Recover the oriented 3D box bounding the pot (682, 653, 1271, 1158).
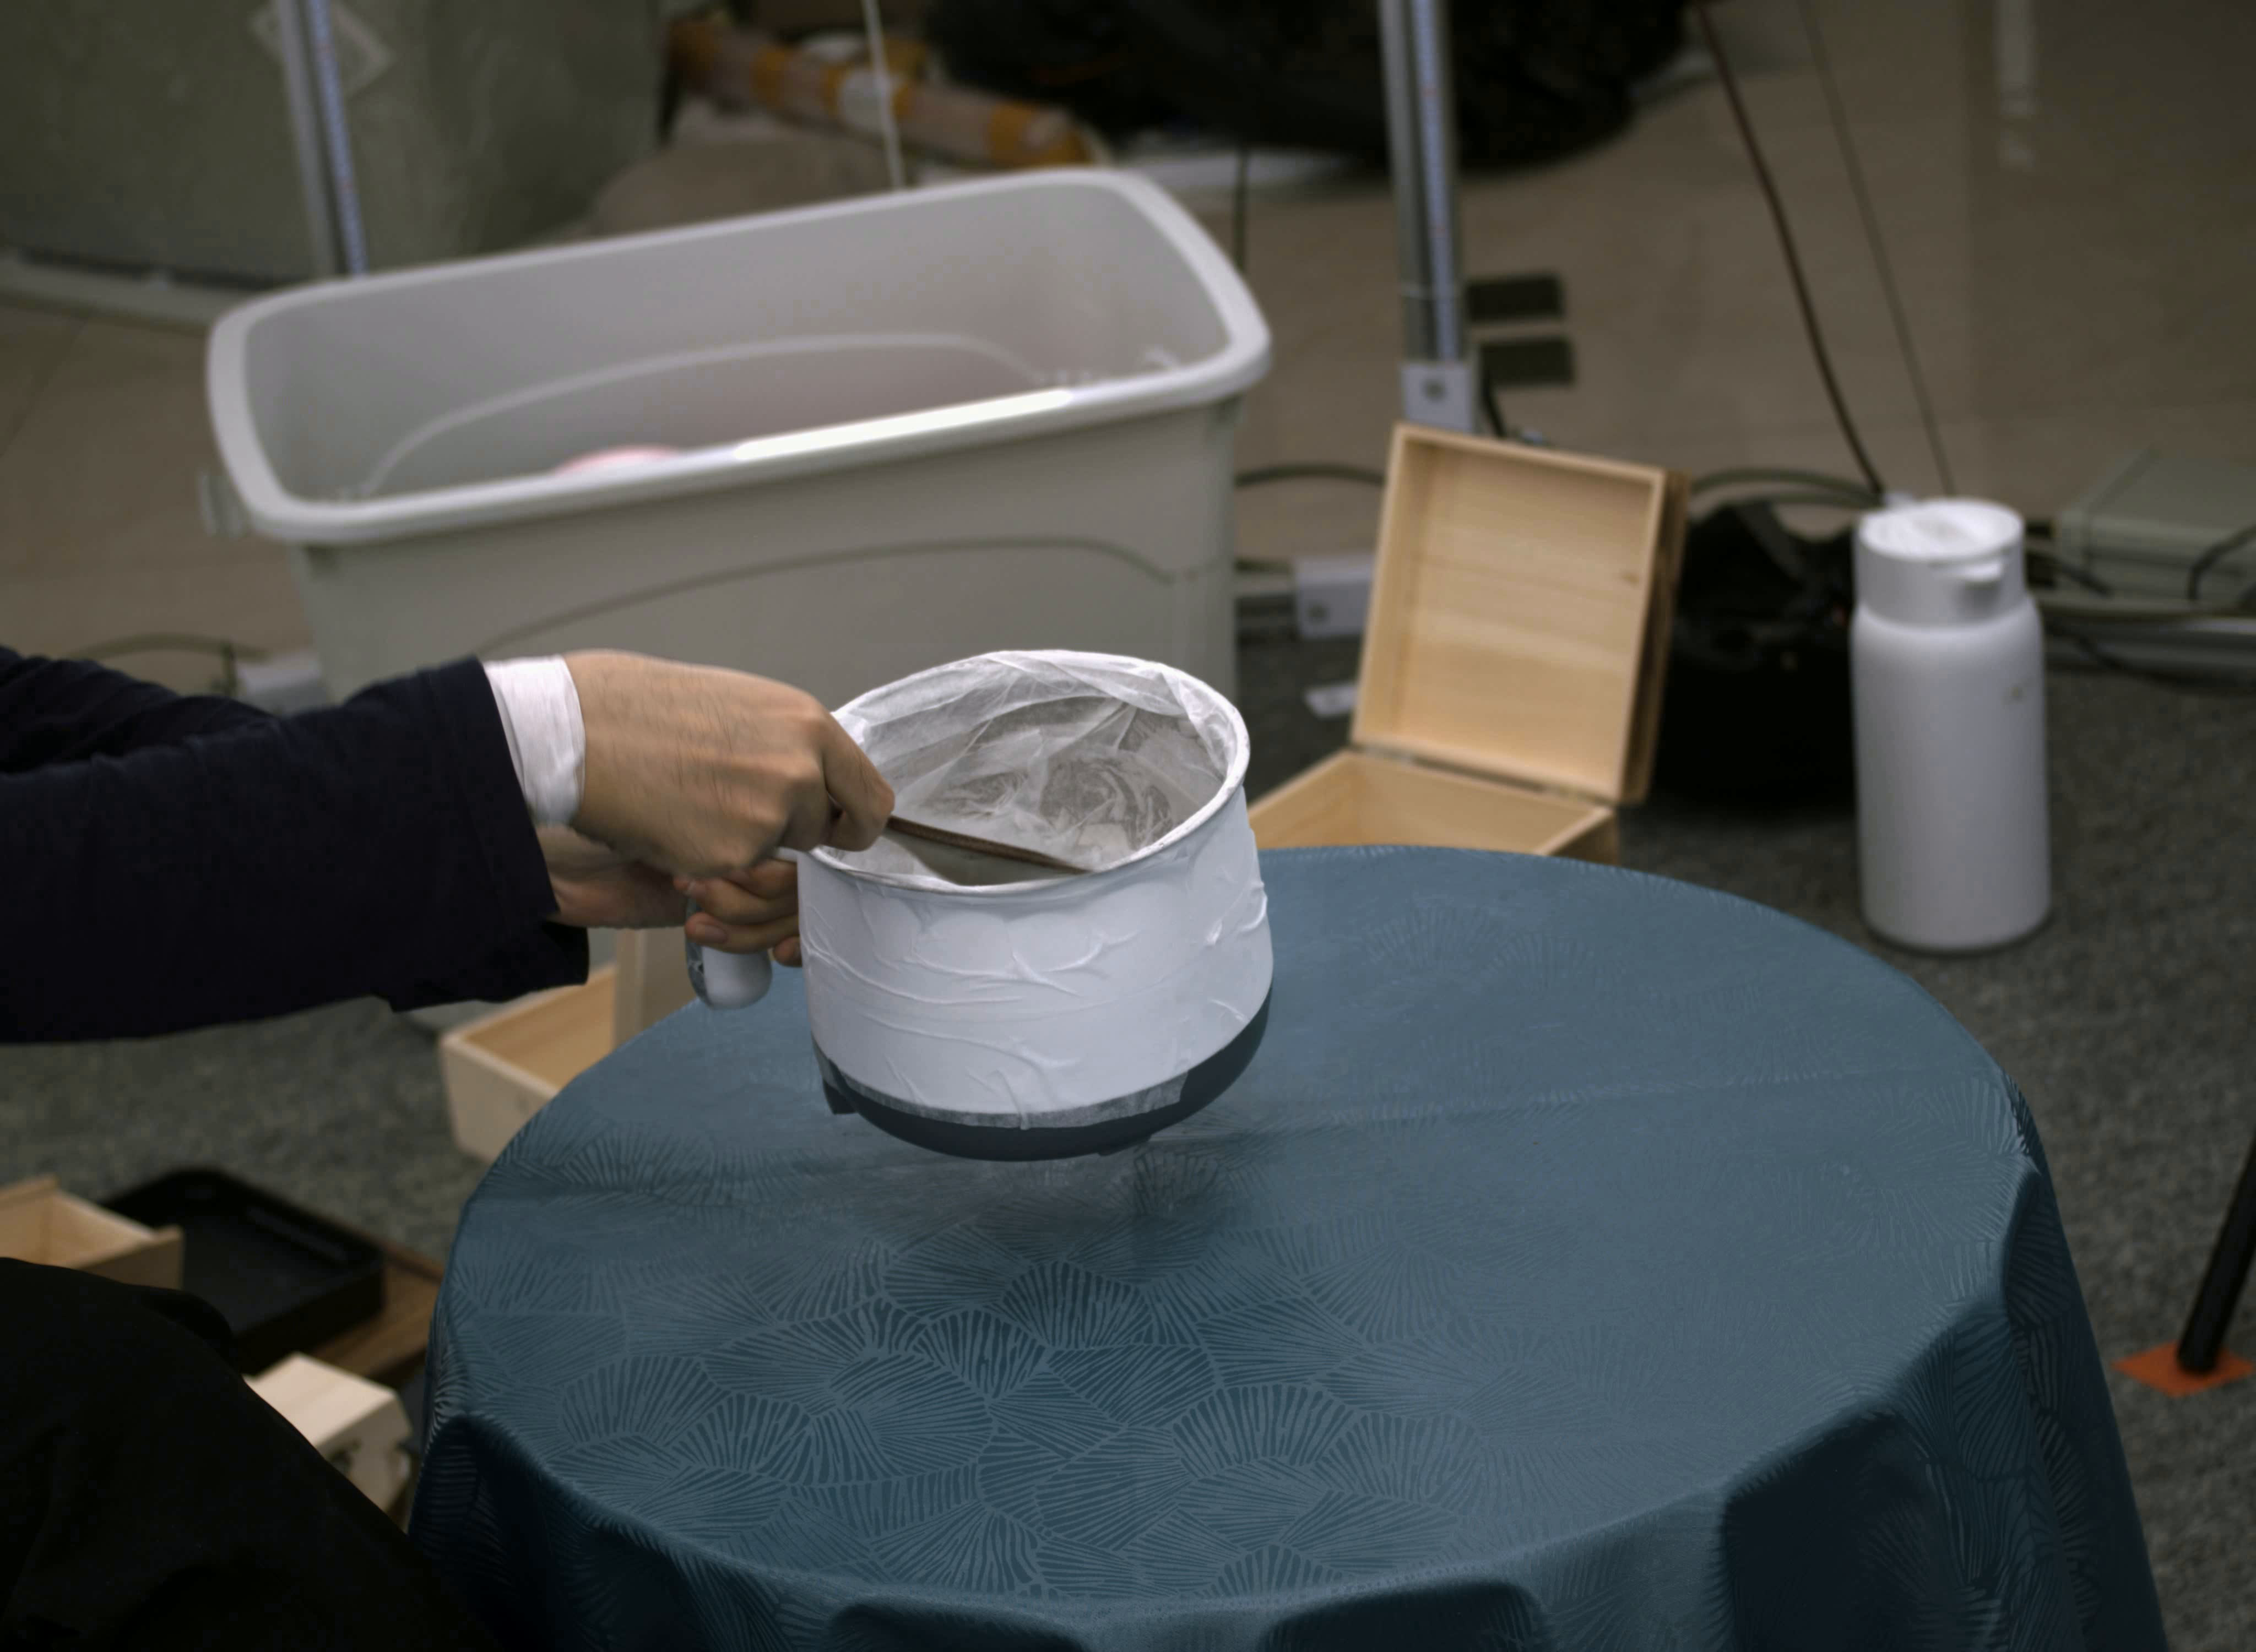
[{"bbox_3d":[-0.062,0.029,2.135,0.233,0.139,0.176,6,31,18],"label":"pot"}]

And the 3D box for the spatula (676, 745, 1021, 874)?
[{"bbox_3d":[-0.085,0.005,2.038,0.072,0.009,0.217,-3,-19,43],"label":"spatula"}]
